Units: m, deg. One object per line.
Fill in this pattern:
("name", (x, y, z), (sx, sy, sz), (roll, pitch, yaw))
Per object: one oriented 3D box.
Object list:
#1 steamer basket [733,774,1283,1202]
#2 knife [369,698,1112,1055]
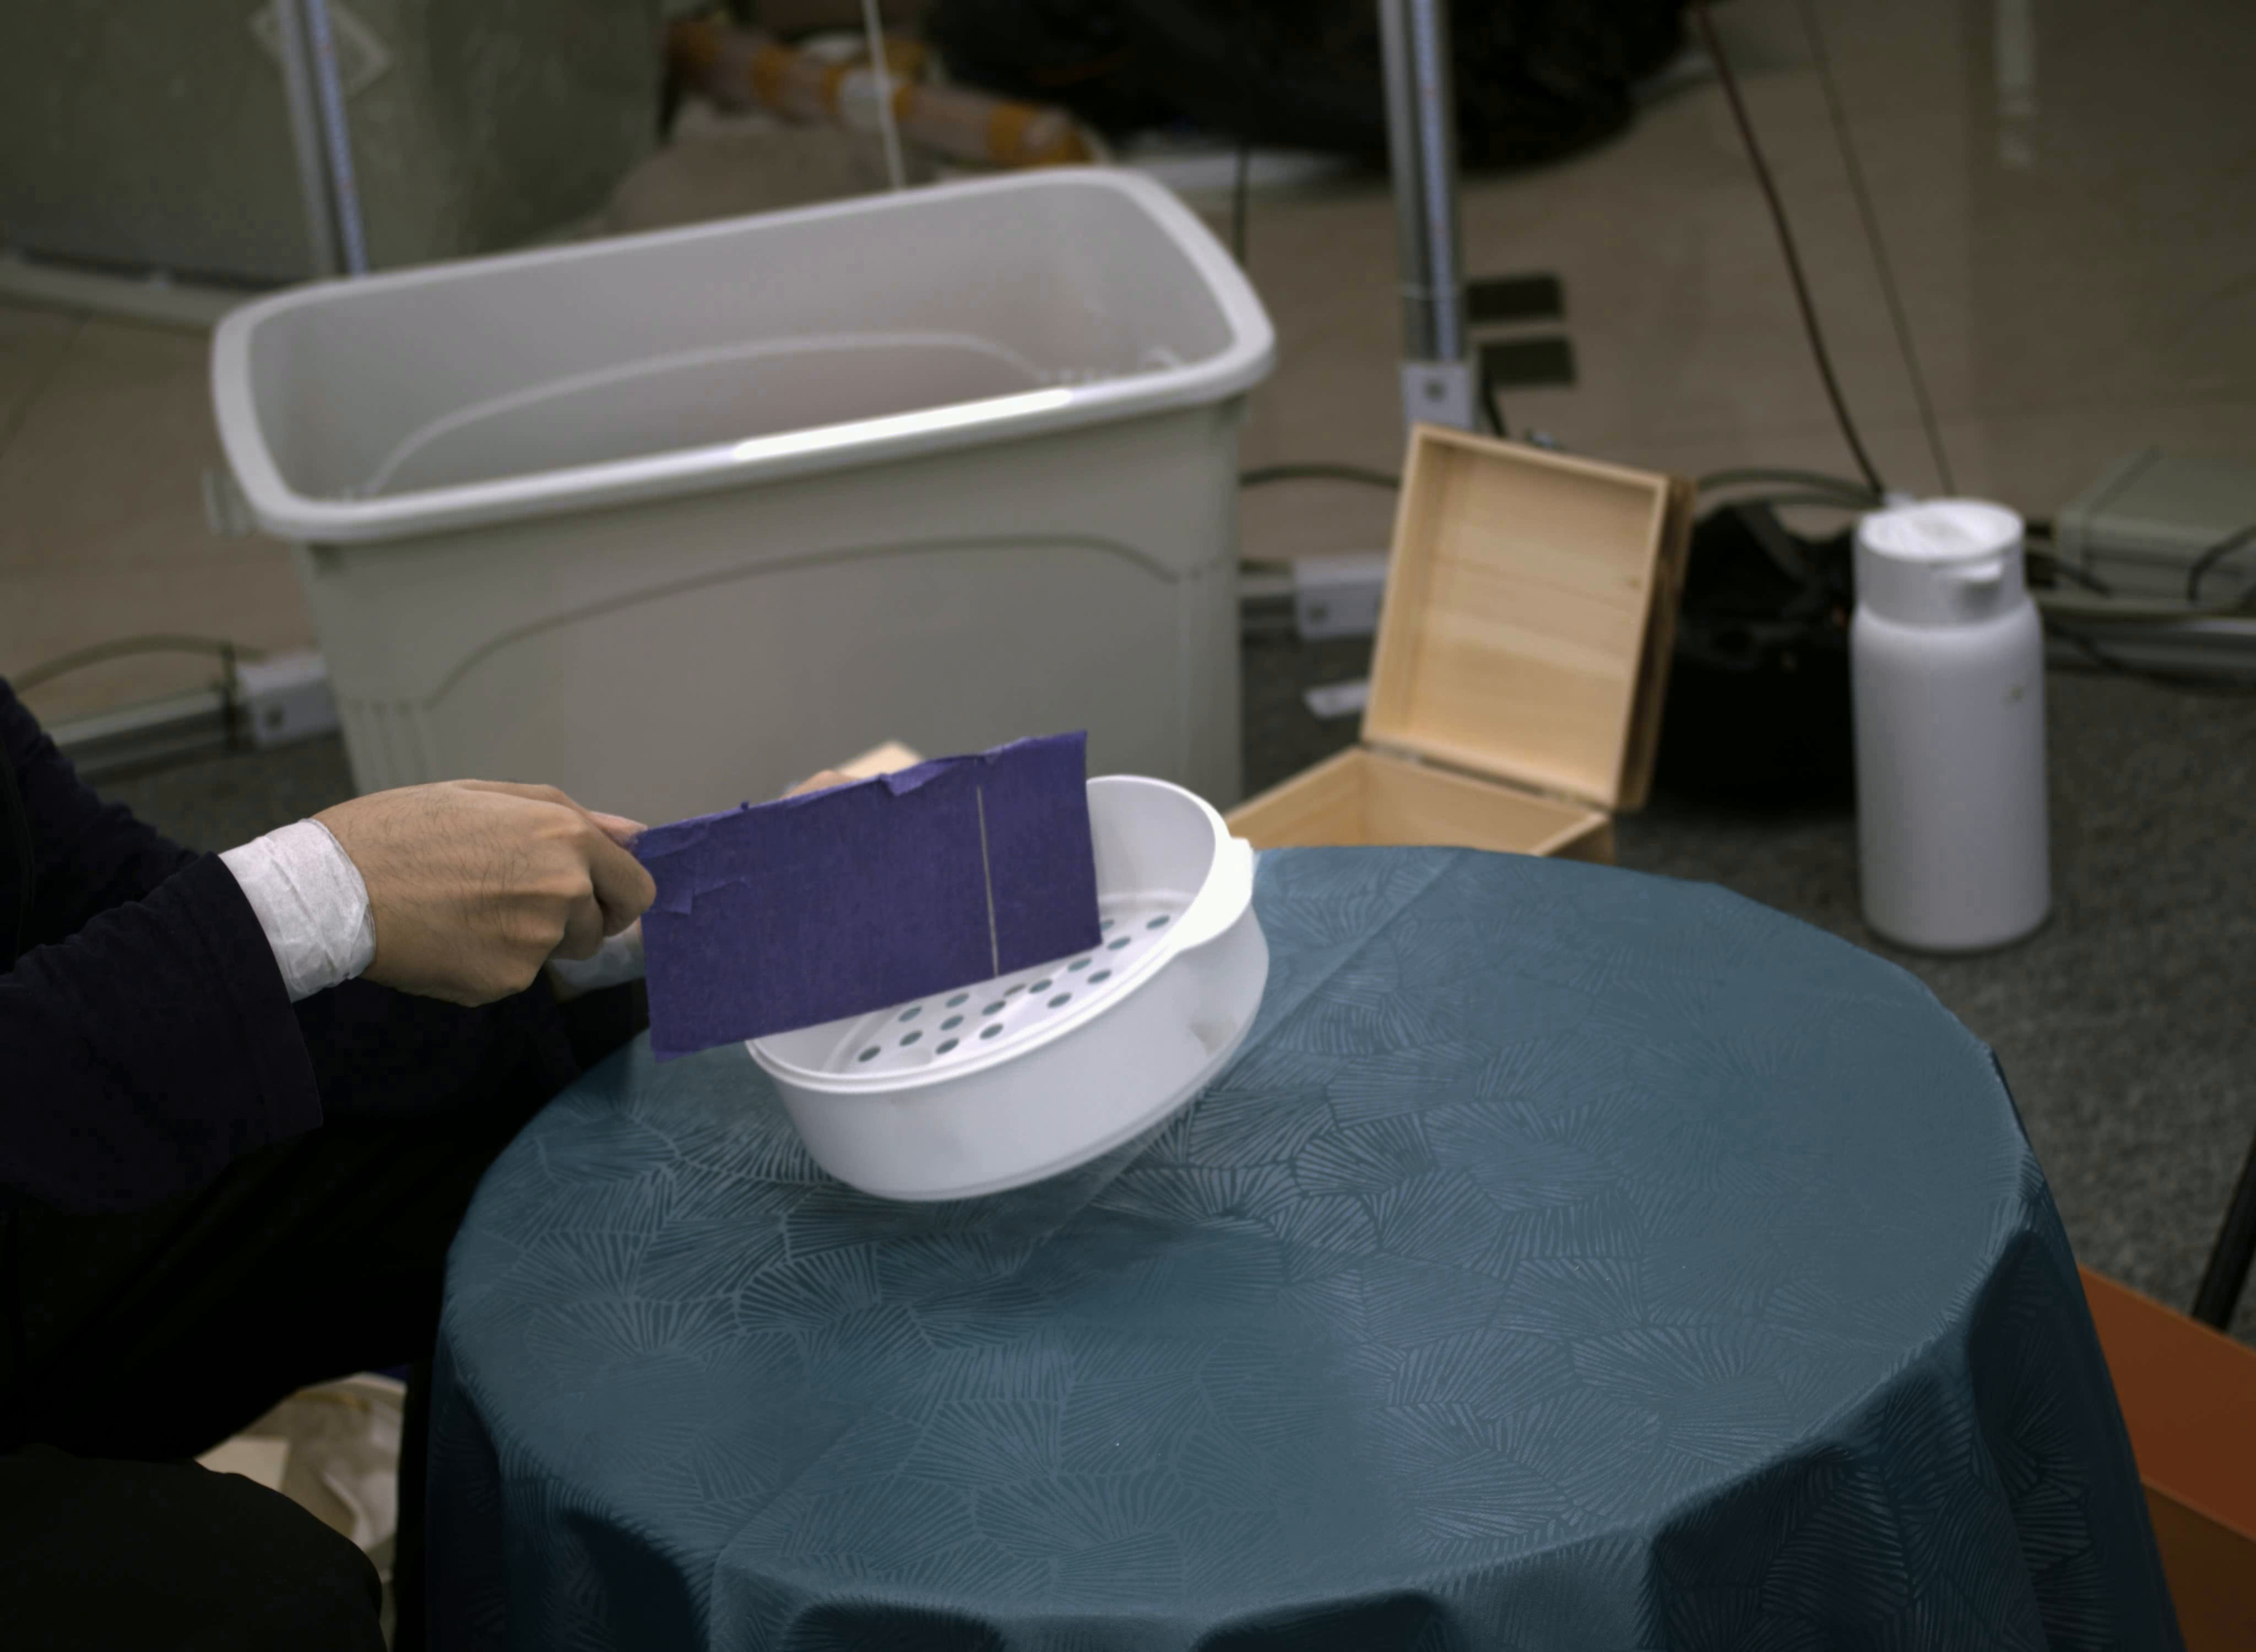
("steamer basket", (-0.039, 0.062, 2.155), (0.231, 0.070, 0.199), (-14, 27, 28))
("knife", (-0.135, 0.033, 2.119), (0.314, 0.105, 0.032), (-14, 18, -31))
